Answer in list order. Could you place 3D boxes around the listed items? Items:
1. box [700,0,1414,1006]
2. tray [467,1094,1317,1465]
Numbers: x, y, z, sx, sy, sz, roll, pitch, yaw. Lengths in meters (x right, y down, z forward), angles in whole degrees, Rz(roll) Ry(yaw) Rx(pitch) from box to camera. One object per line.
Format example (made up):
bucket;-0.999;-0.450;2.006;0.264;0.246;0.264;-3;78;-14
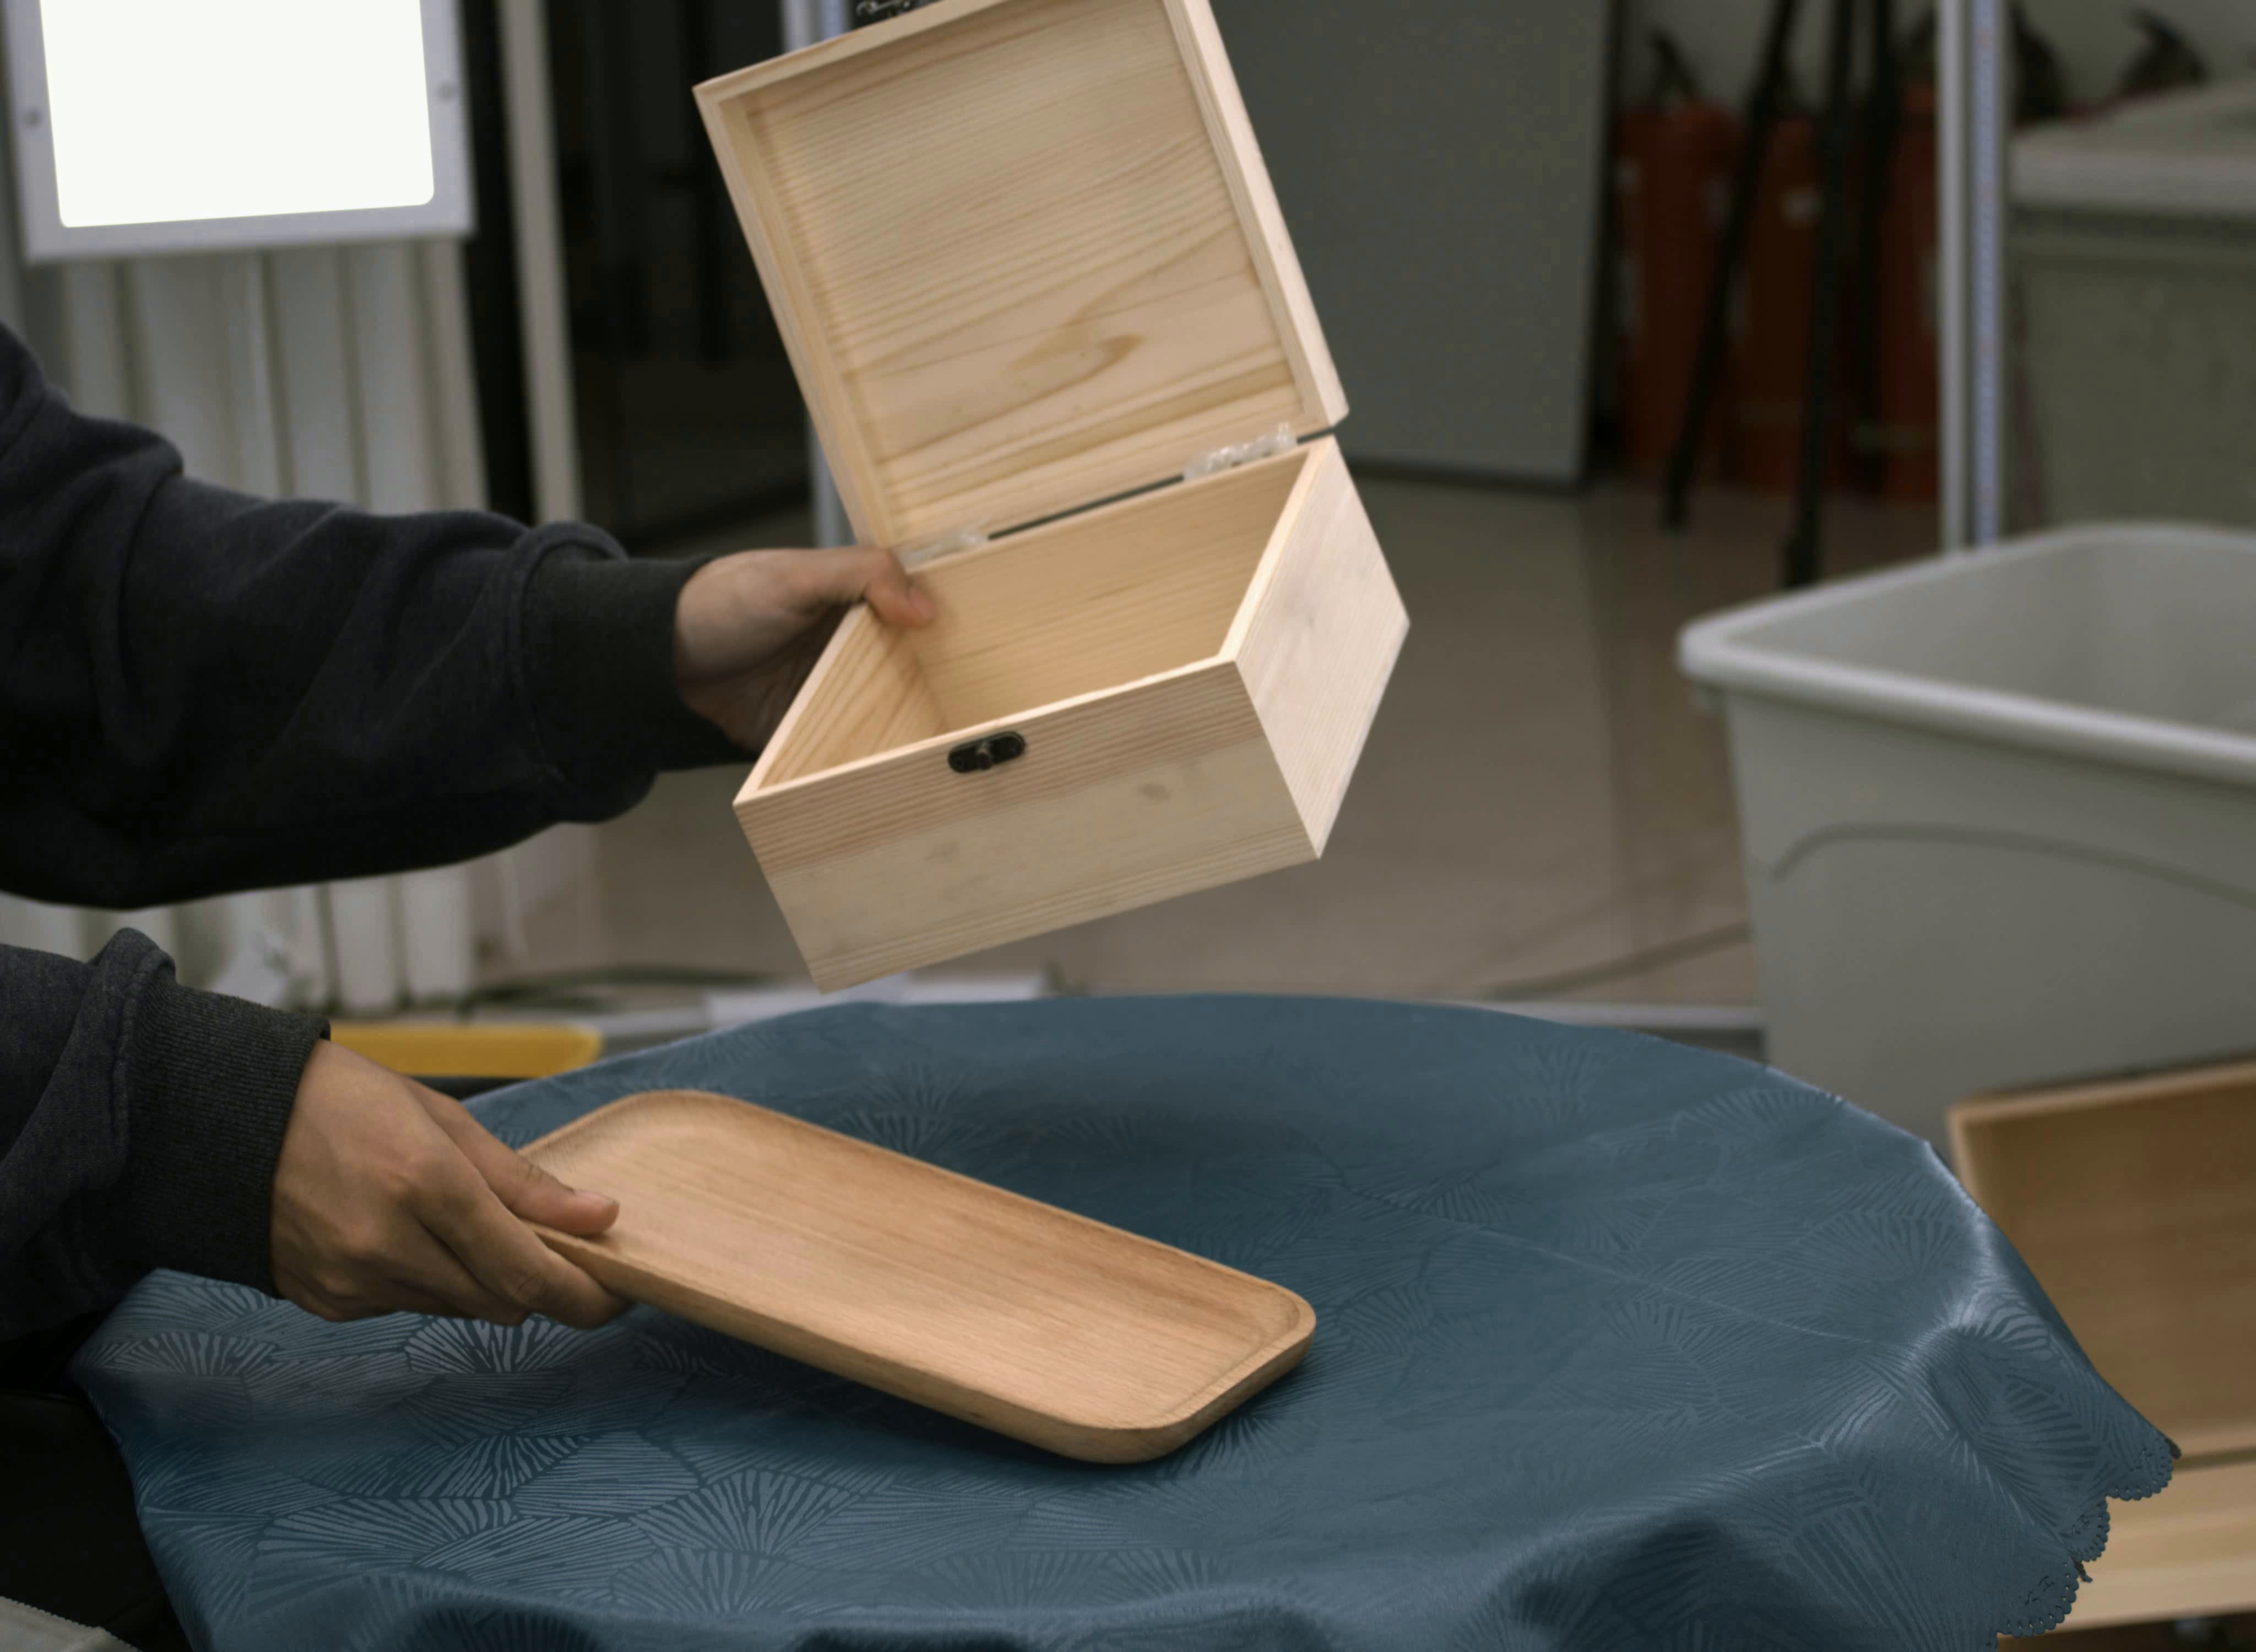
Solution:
box;-0.041;-0.126;1.803;0.182;0.254;0.264;-19;18;20
tray;-0.072;0.133;1.611;0.252;0.023;0.128;16;18;29
